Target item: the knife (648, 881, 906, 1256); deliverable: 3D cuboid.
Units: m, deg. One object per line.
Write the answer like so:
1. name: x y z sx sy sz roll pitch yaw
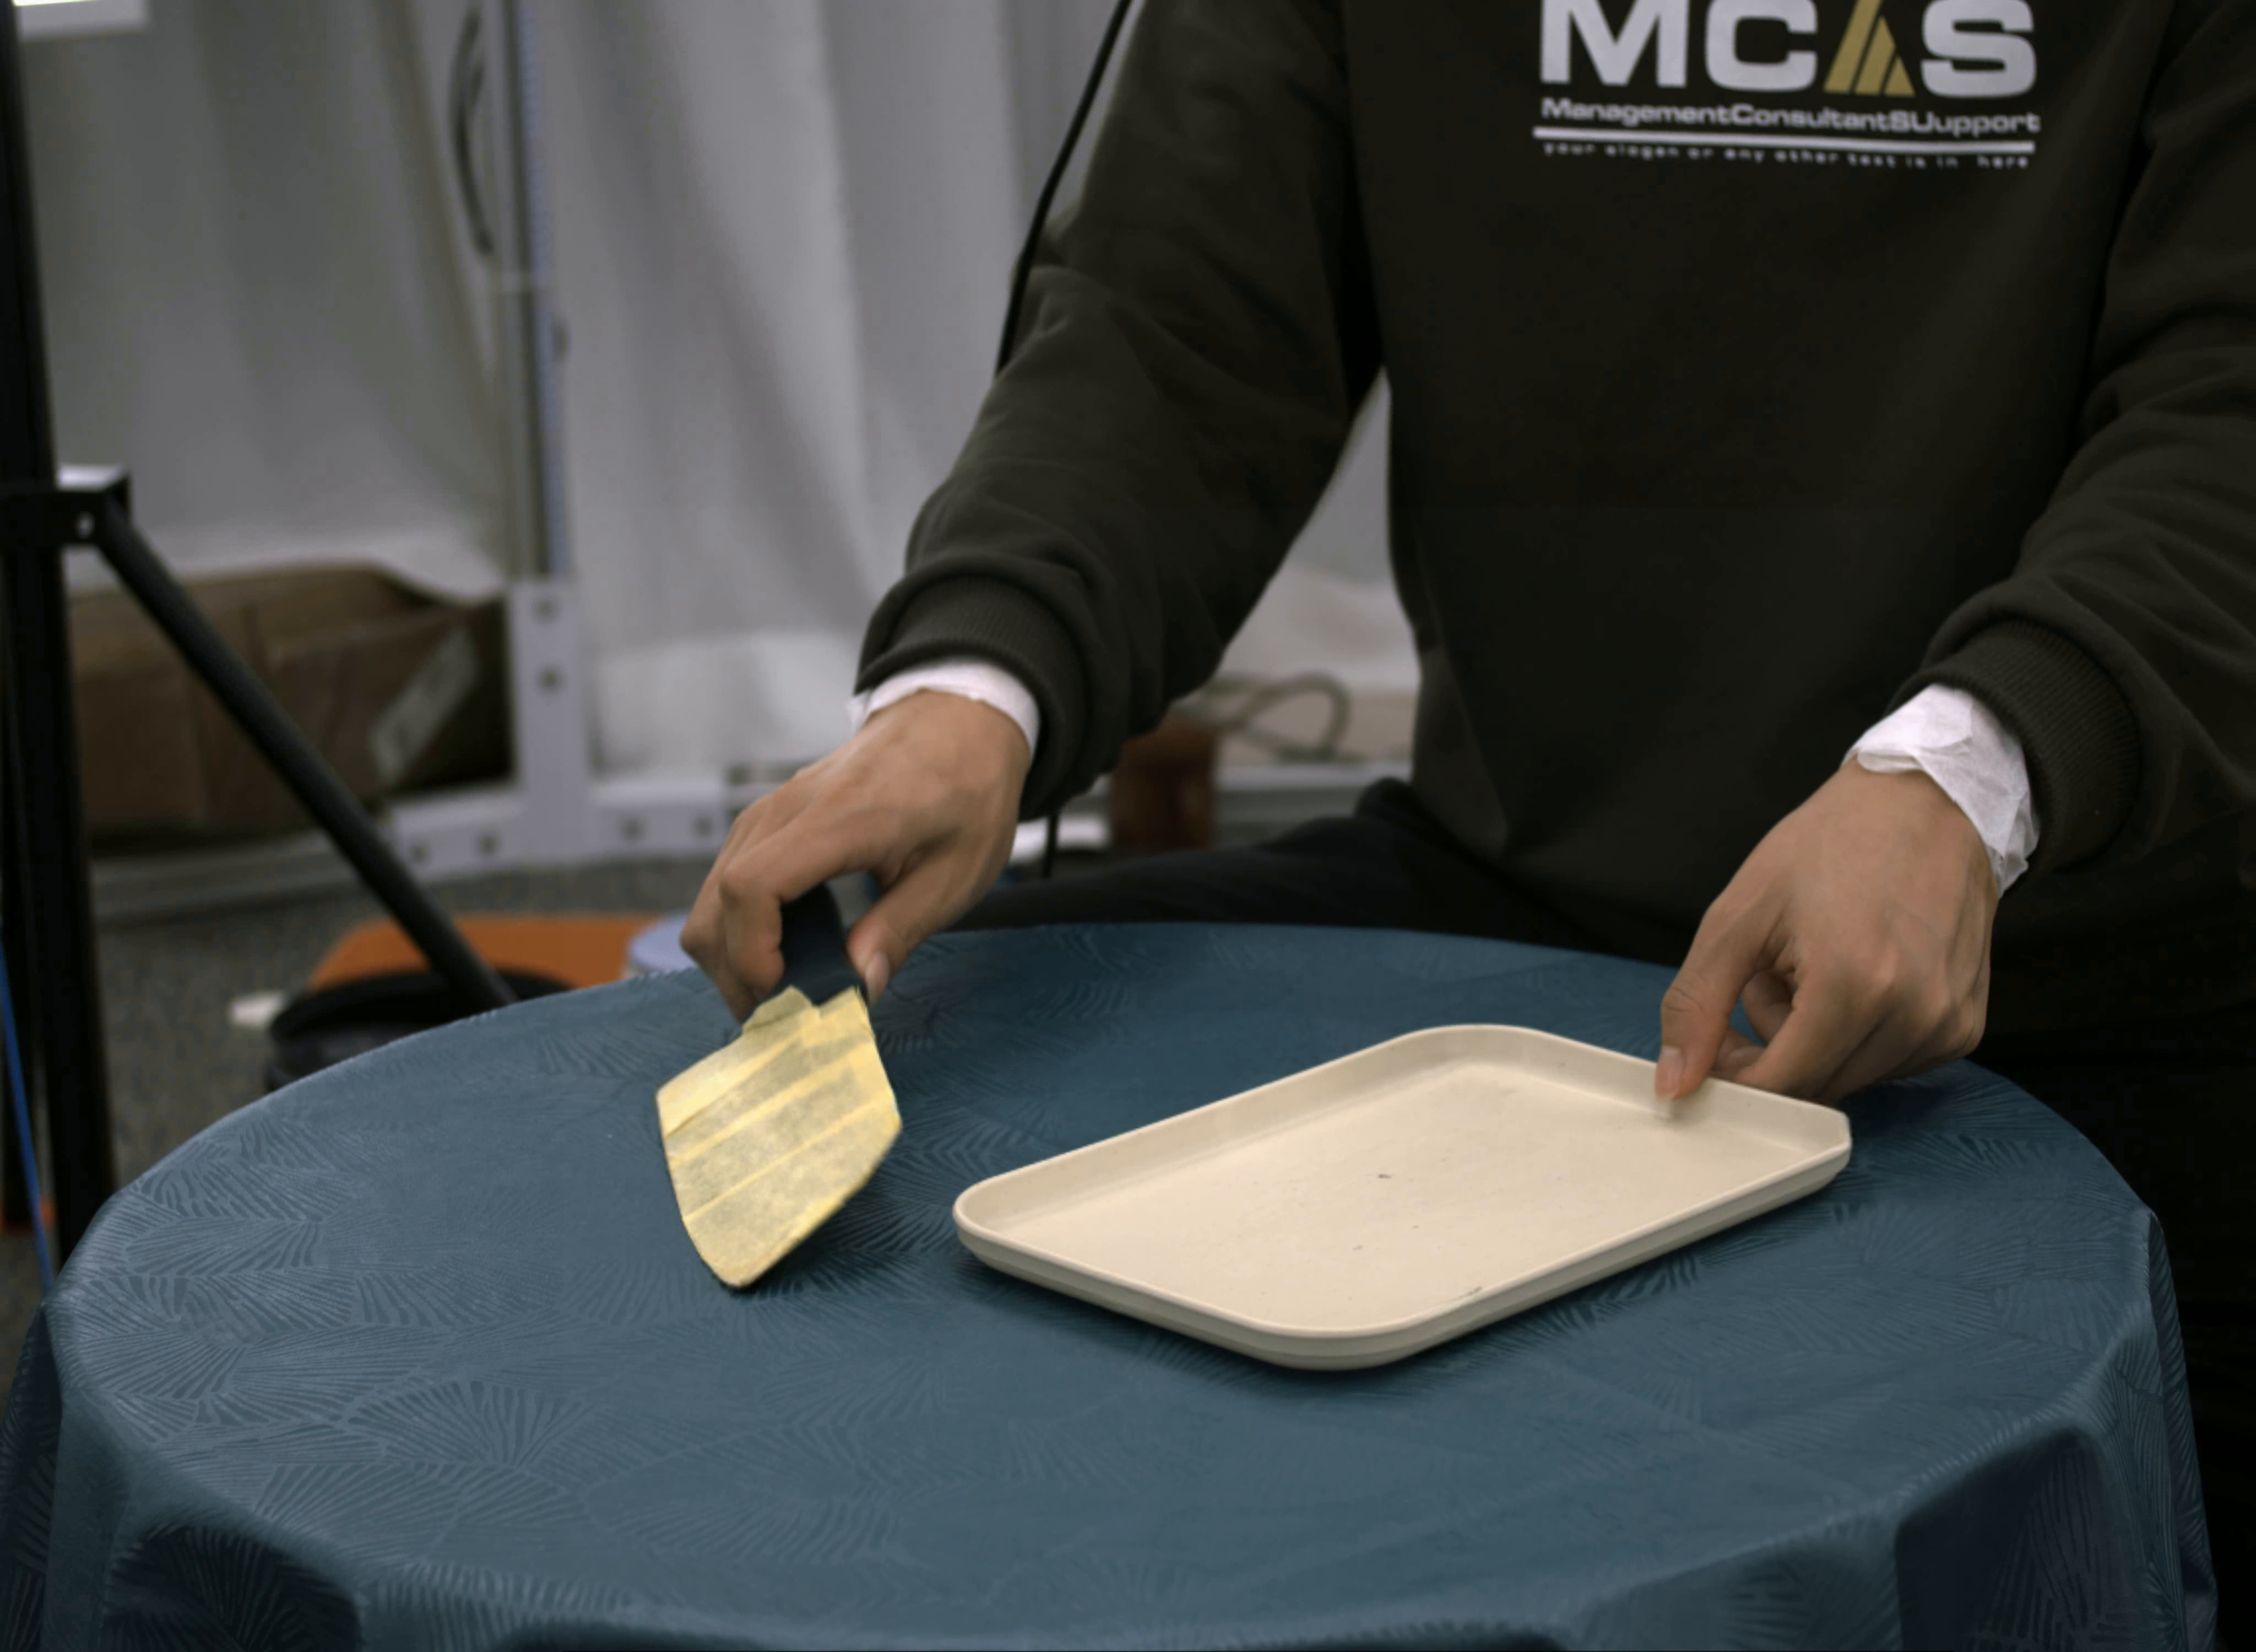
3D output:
1. knife: -0.110 0.073 1.631 0.081 0.027 0.292 -26 18 2

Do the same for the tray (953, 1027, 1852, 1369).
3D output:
1. tray: 0.081 0.106 1.525 0.234 0.017 0.175 -16 20 -41
